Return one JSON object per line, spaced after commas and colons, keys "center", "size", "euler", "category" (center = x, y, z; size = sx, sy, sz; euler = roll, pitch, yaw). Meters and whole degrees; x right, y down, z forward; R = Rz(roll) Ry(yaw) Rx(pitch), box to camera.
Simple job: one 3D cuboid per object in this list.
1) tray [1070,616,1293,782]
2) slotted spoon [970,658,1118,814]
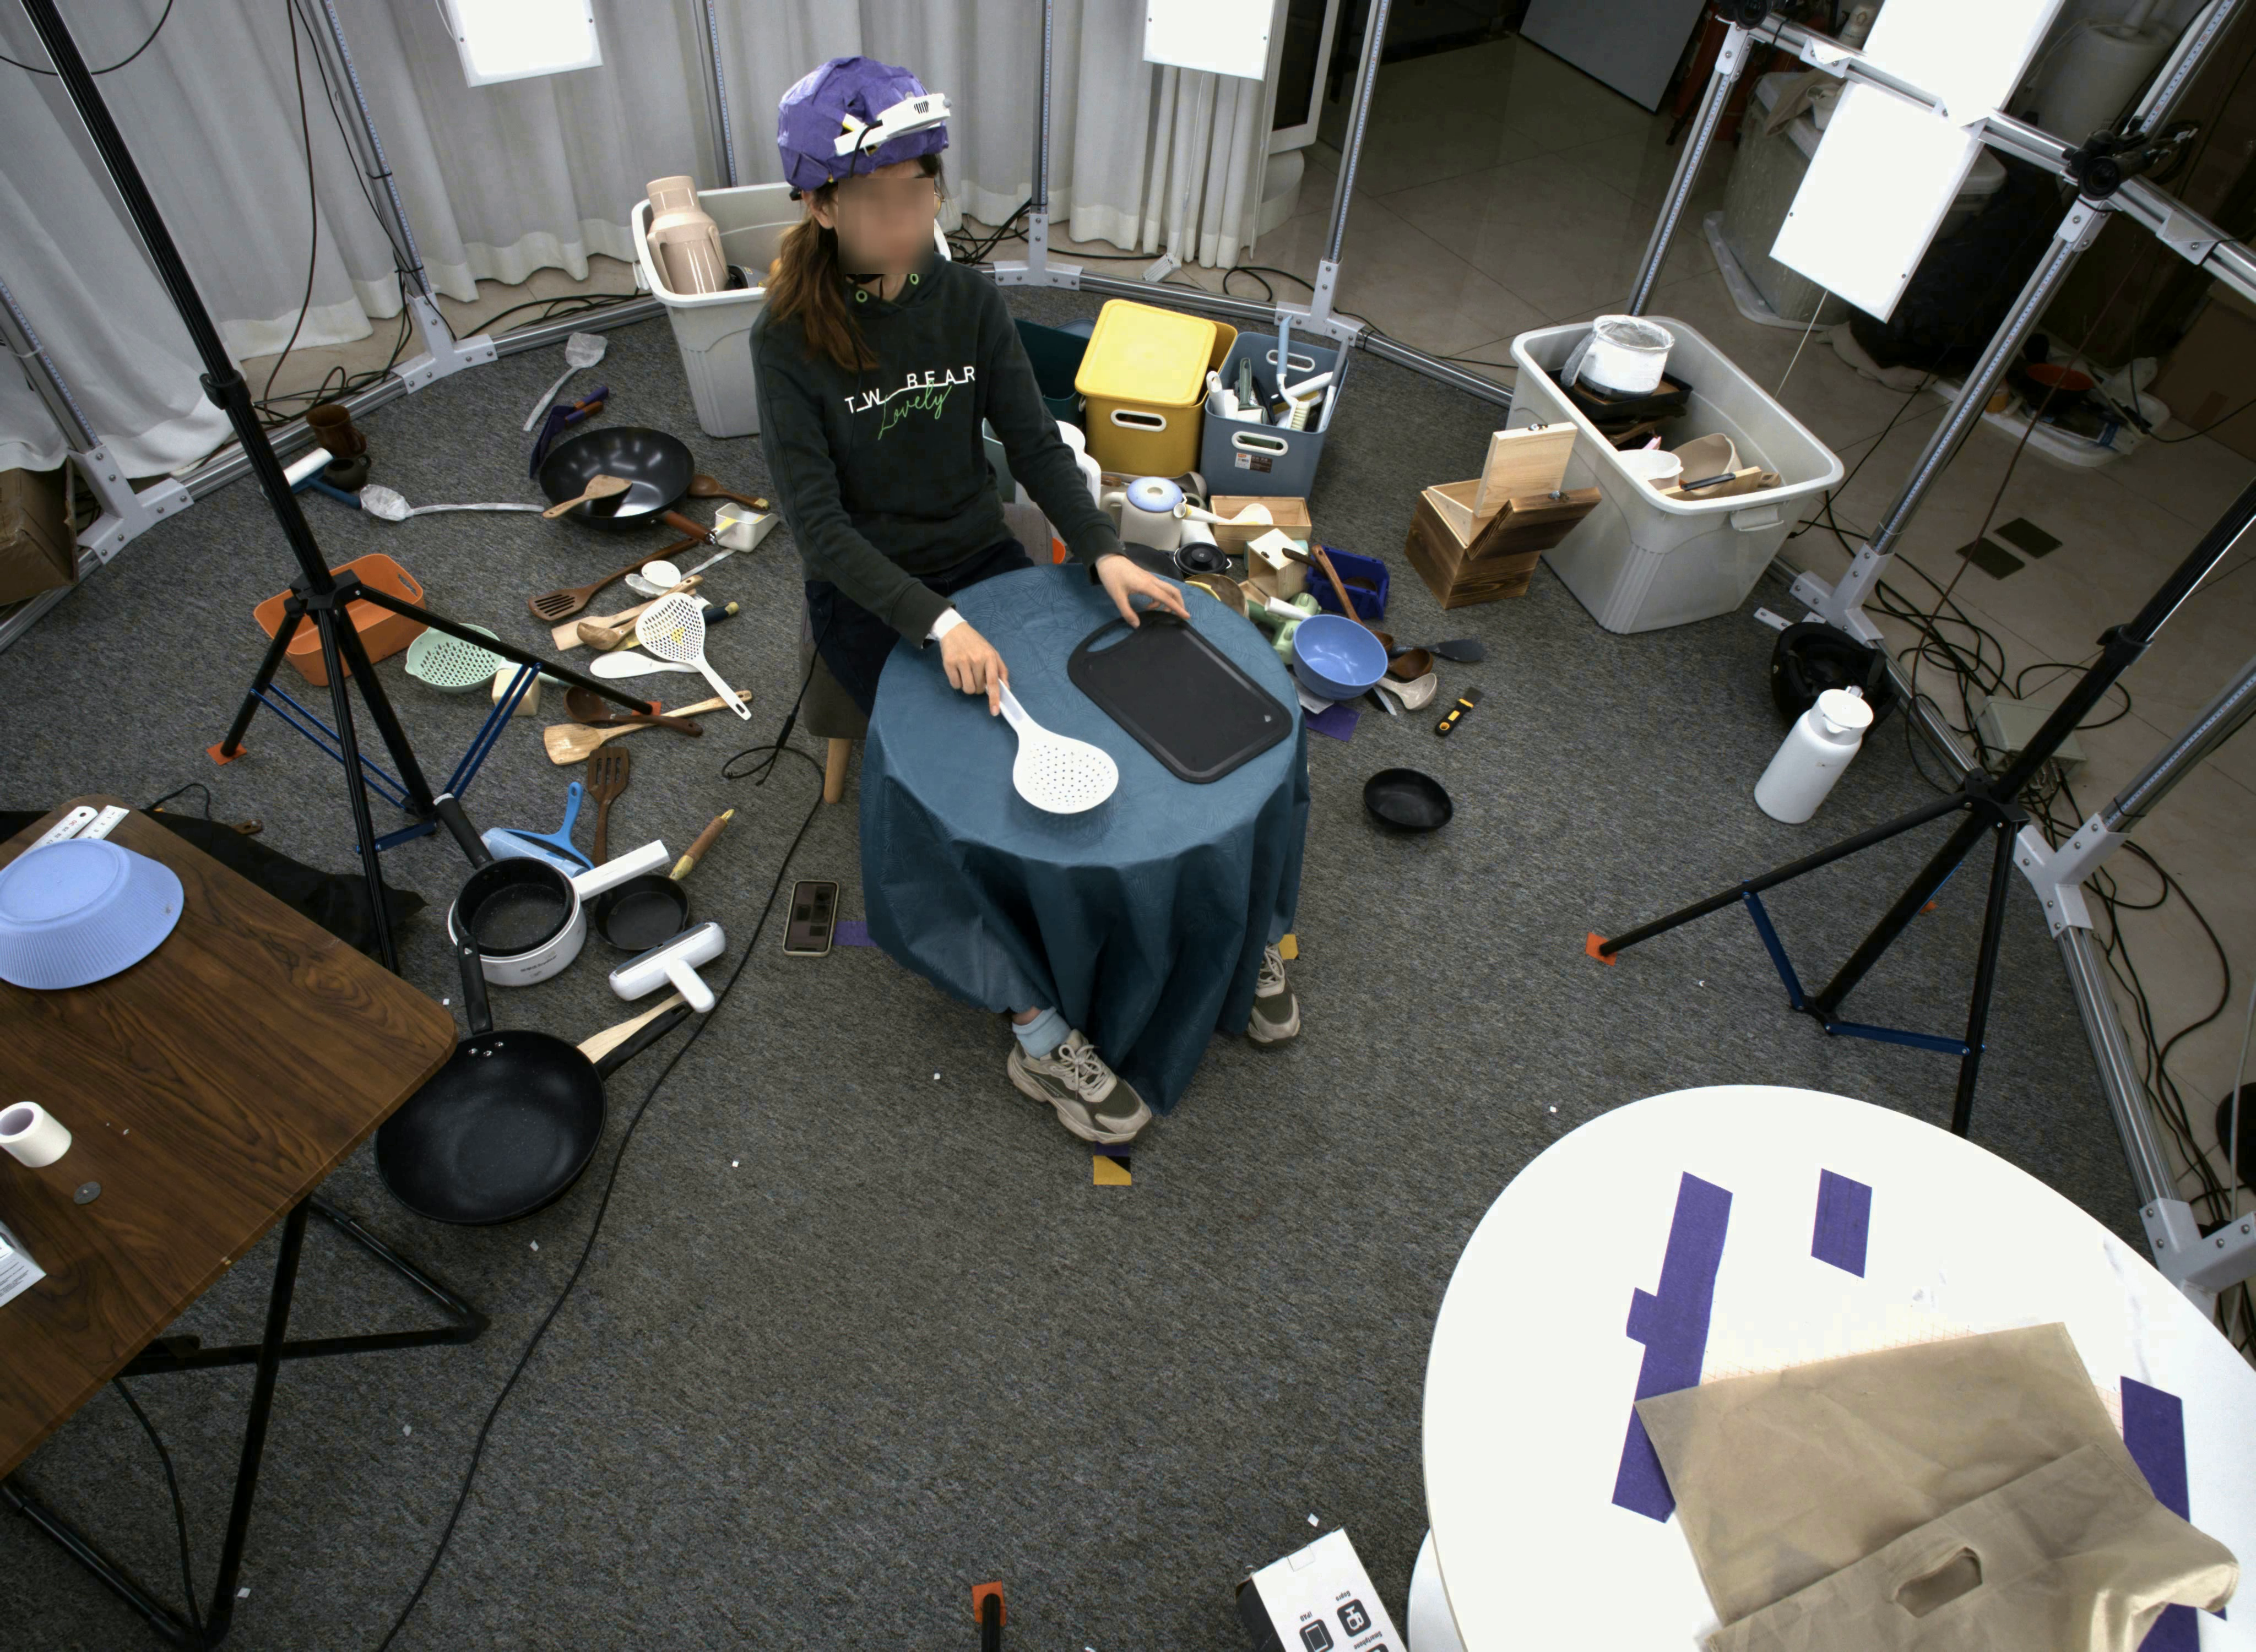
{"center": [0.068, -0.195, 1.850], "size": [0.212, 0.009, 0.331], "euler": [-31, 58, -26], "category": "tray"}
{"center": [-0.134, -0.128, 1.757], "size": [0.136, 0.044, 0.357], "euler": [-19, 52, -22], "category": "slotted spoon"}
